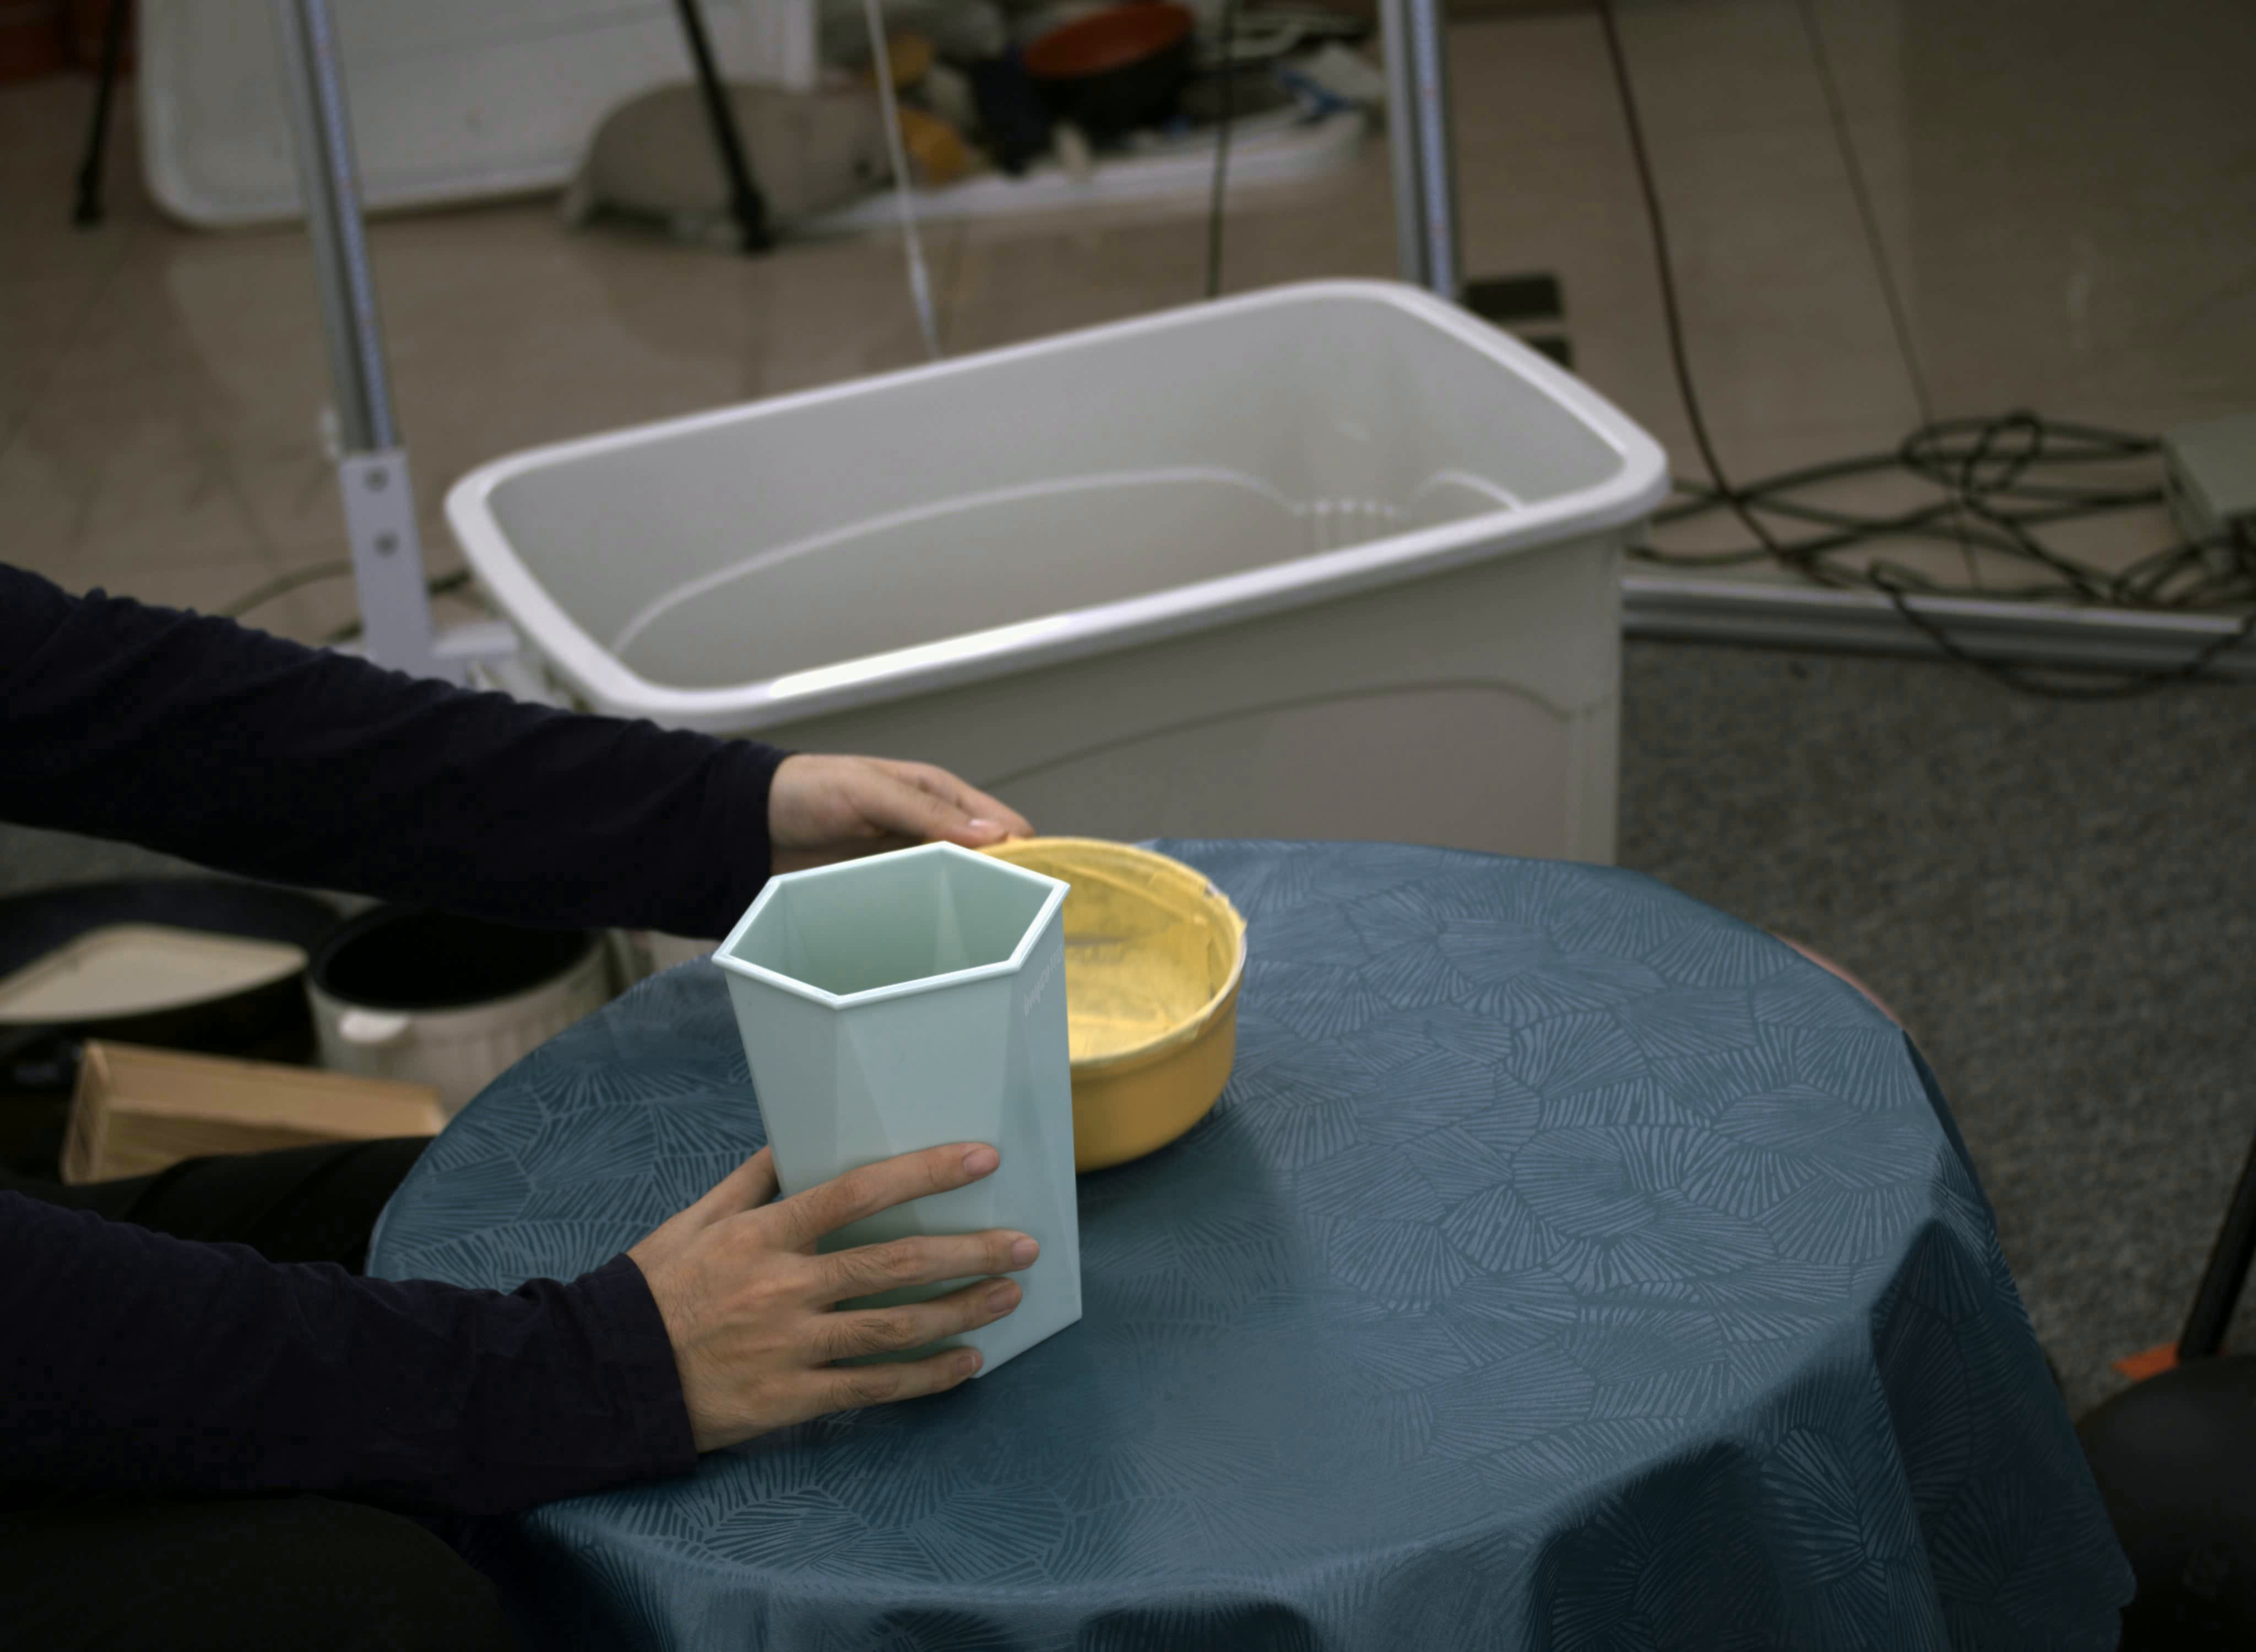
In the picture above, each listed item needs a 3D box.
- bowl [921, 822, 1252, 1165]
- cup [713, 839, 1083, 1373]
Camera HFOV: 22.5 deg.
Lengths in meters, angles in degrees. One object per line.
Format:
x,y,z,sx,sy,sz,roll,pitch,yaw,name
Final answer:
-0.033,0.064,2.204,0.152,0.076,0.176,-19,38,-20,bowl
-0.074,0.104,2.044,0.115,0.165,0.129,0,25,15,cup
